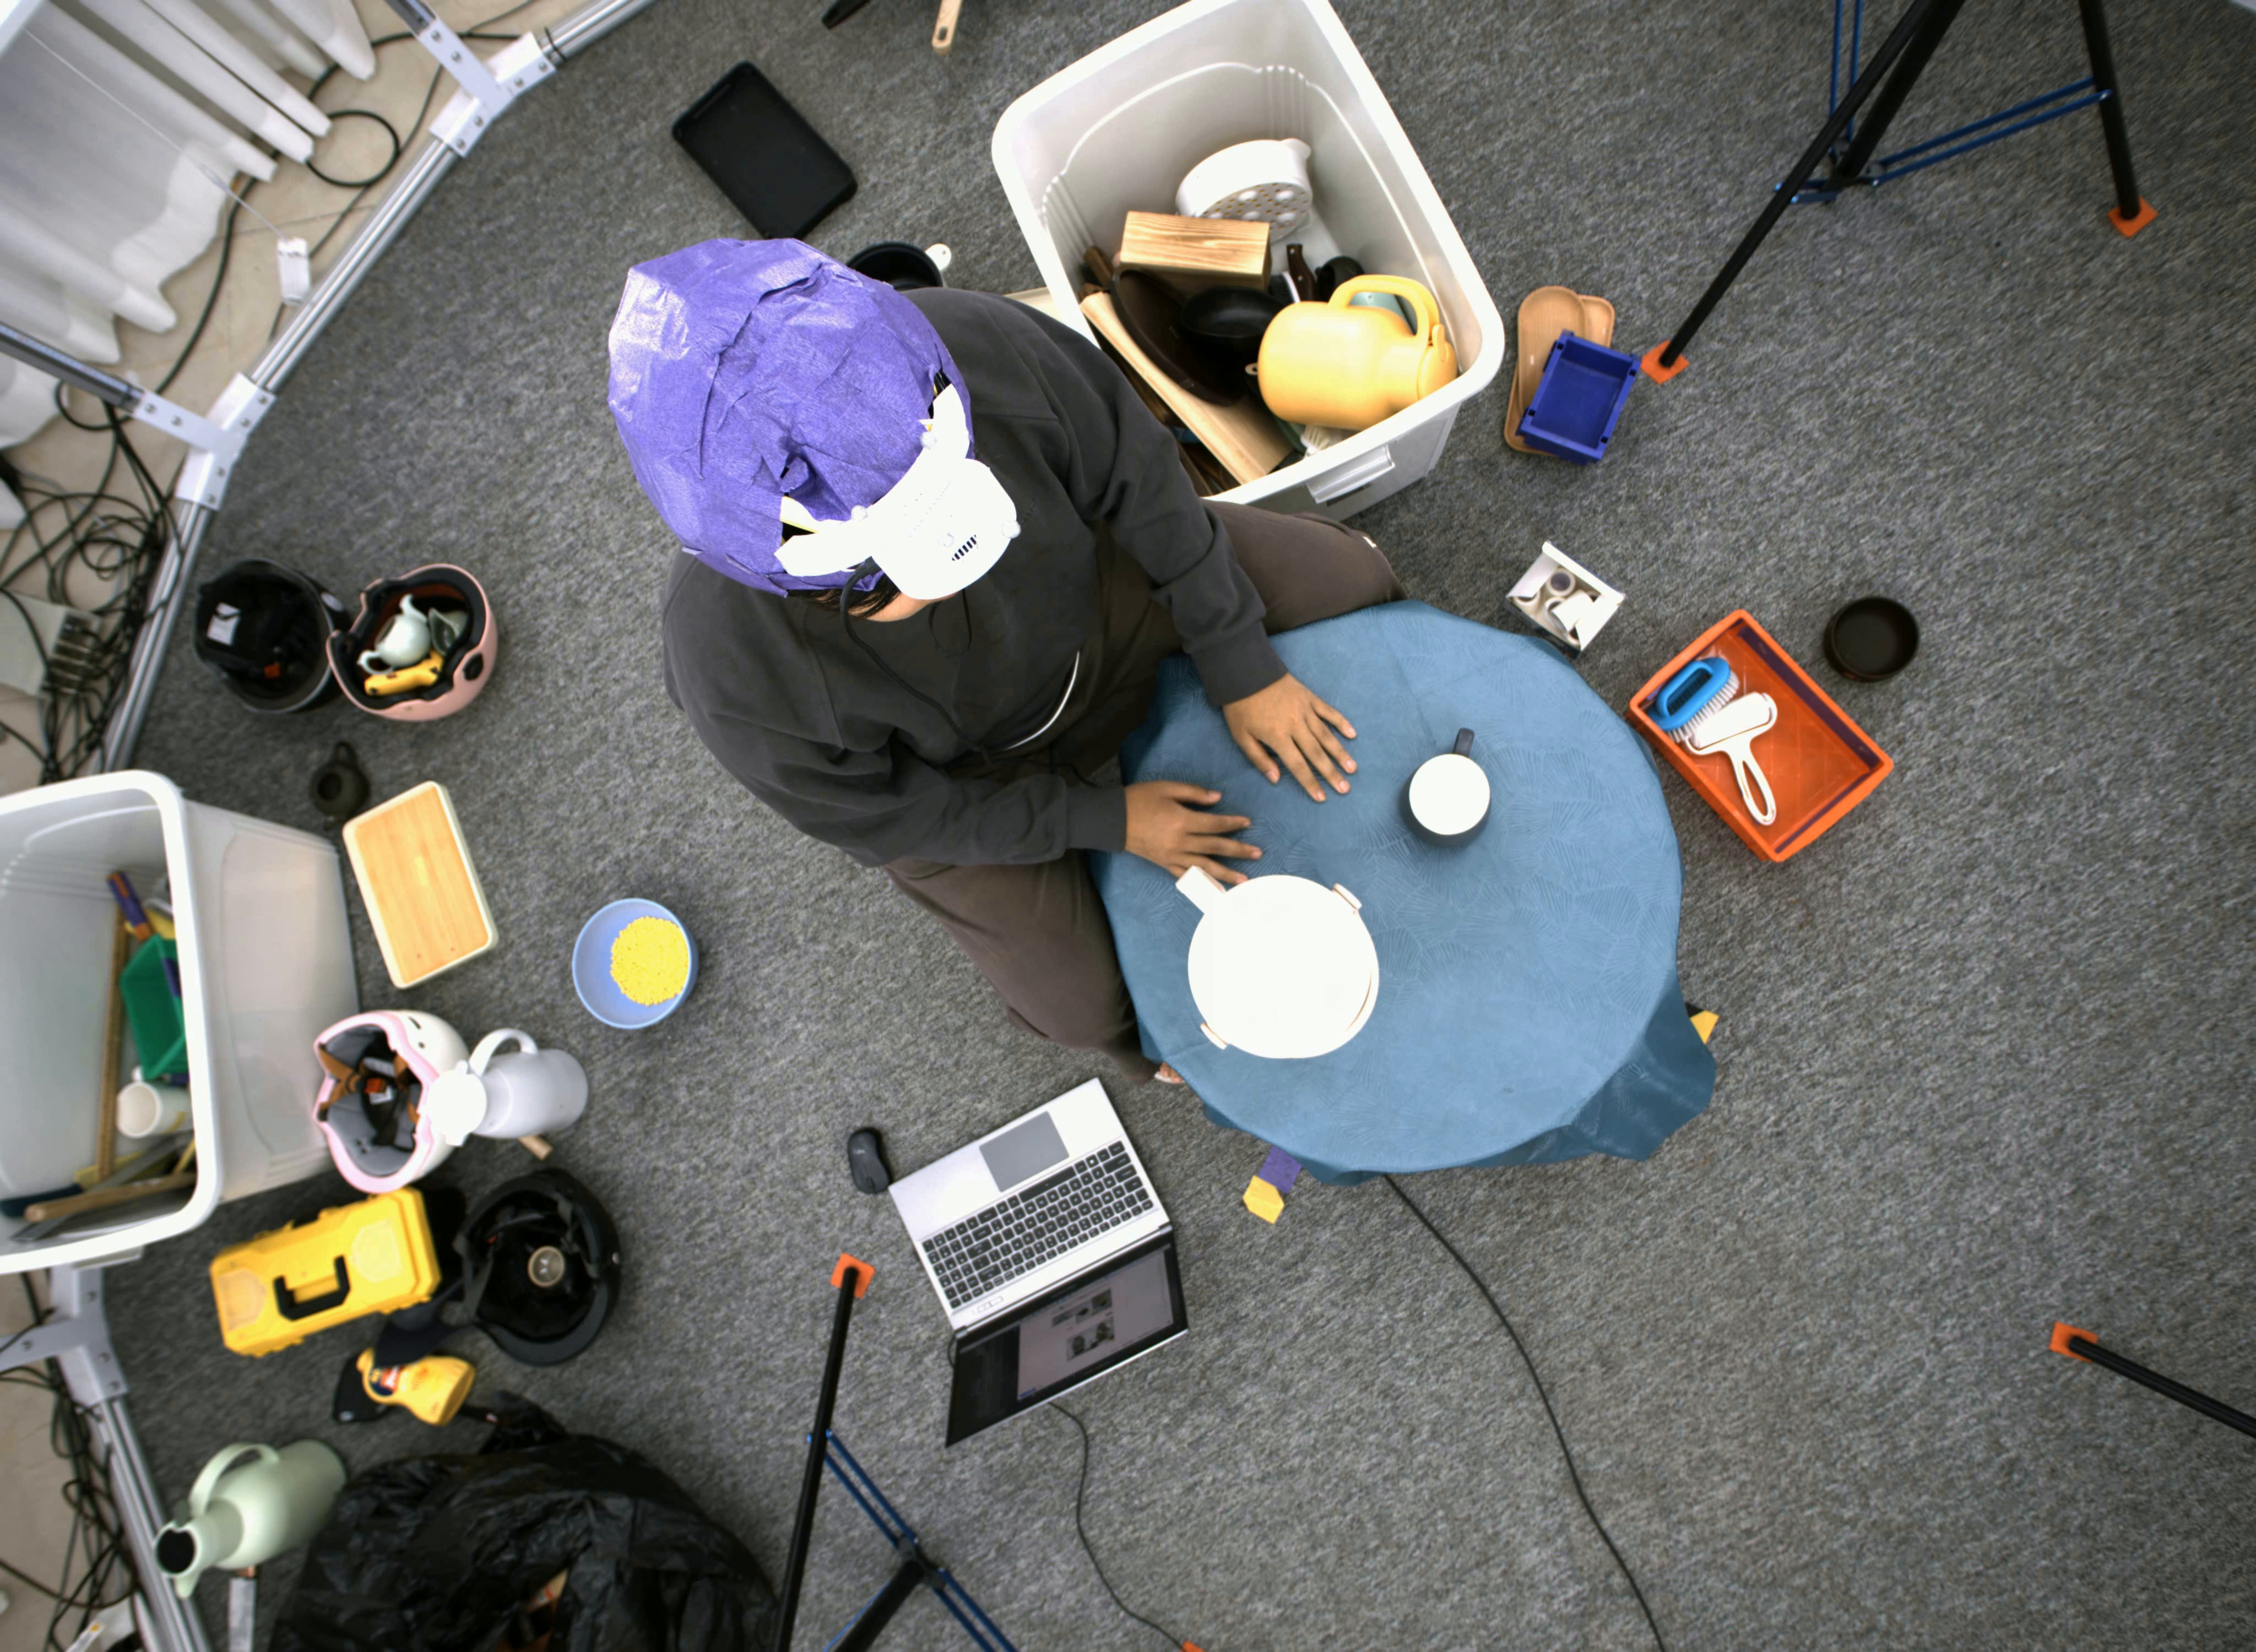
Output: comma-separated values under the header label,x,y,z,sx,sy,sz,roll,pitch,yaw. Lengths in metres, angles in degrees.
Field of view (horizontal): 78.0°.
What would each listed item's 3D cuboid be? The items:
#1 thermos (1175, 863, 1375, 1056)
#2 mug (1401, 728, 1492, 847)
label,x,y,z,sx,sy,sz,roll,pitch,yaw
thermos,0.134,0.117,1.282,0.206,0.406,0.176,44,93,11
mug,0.332,-0.044,1.410,0.093,0.090,0.123,19,89,12
